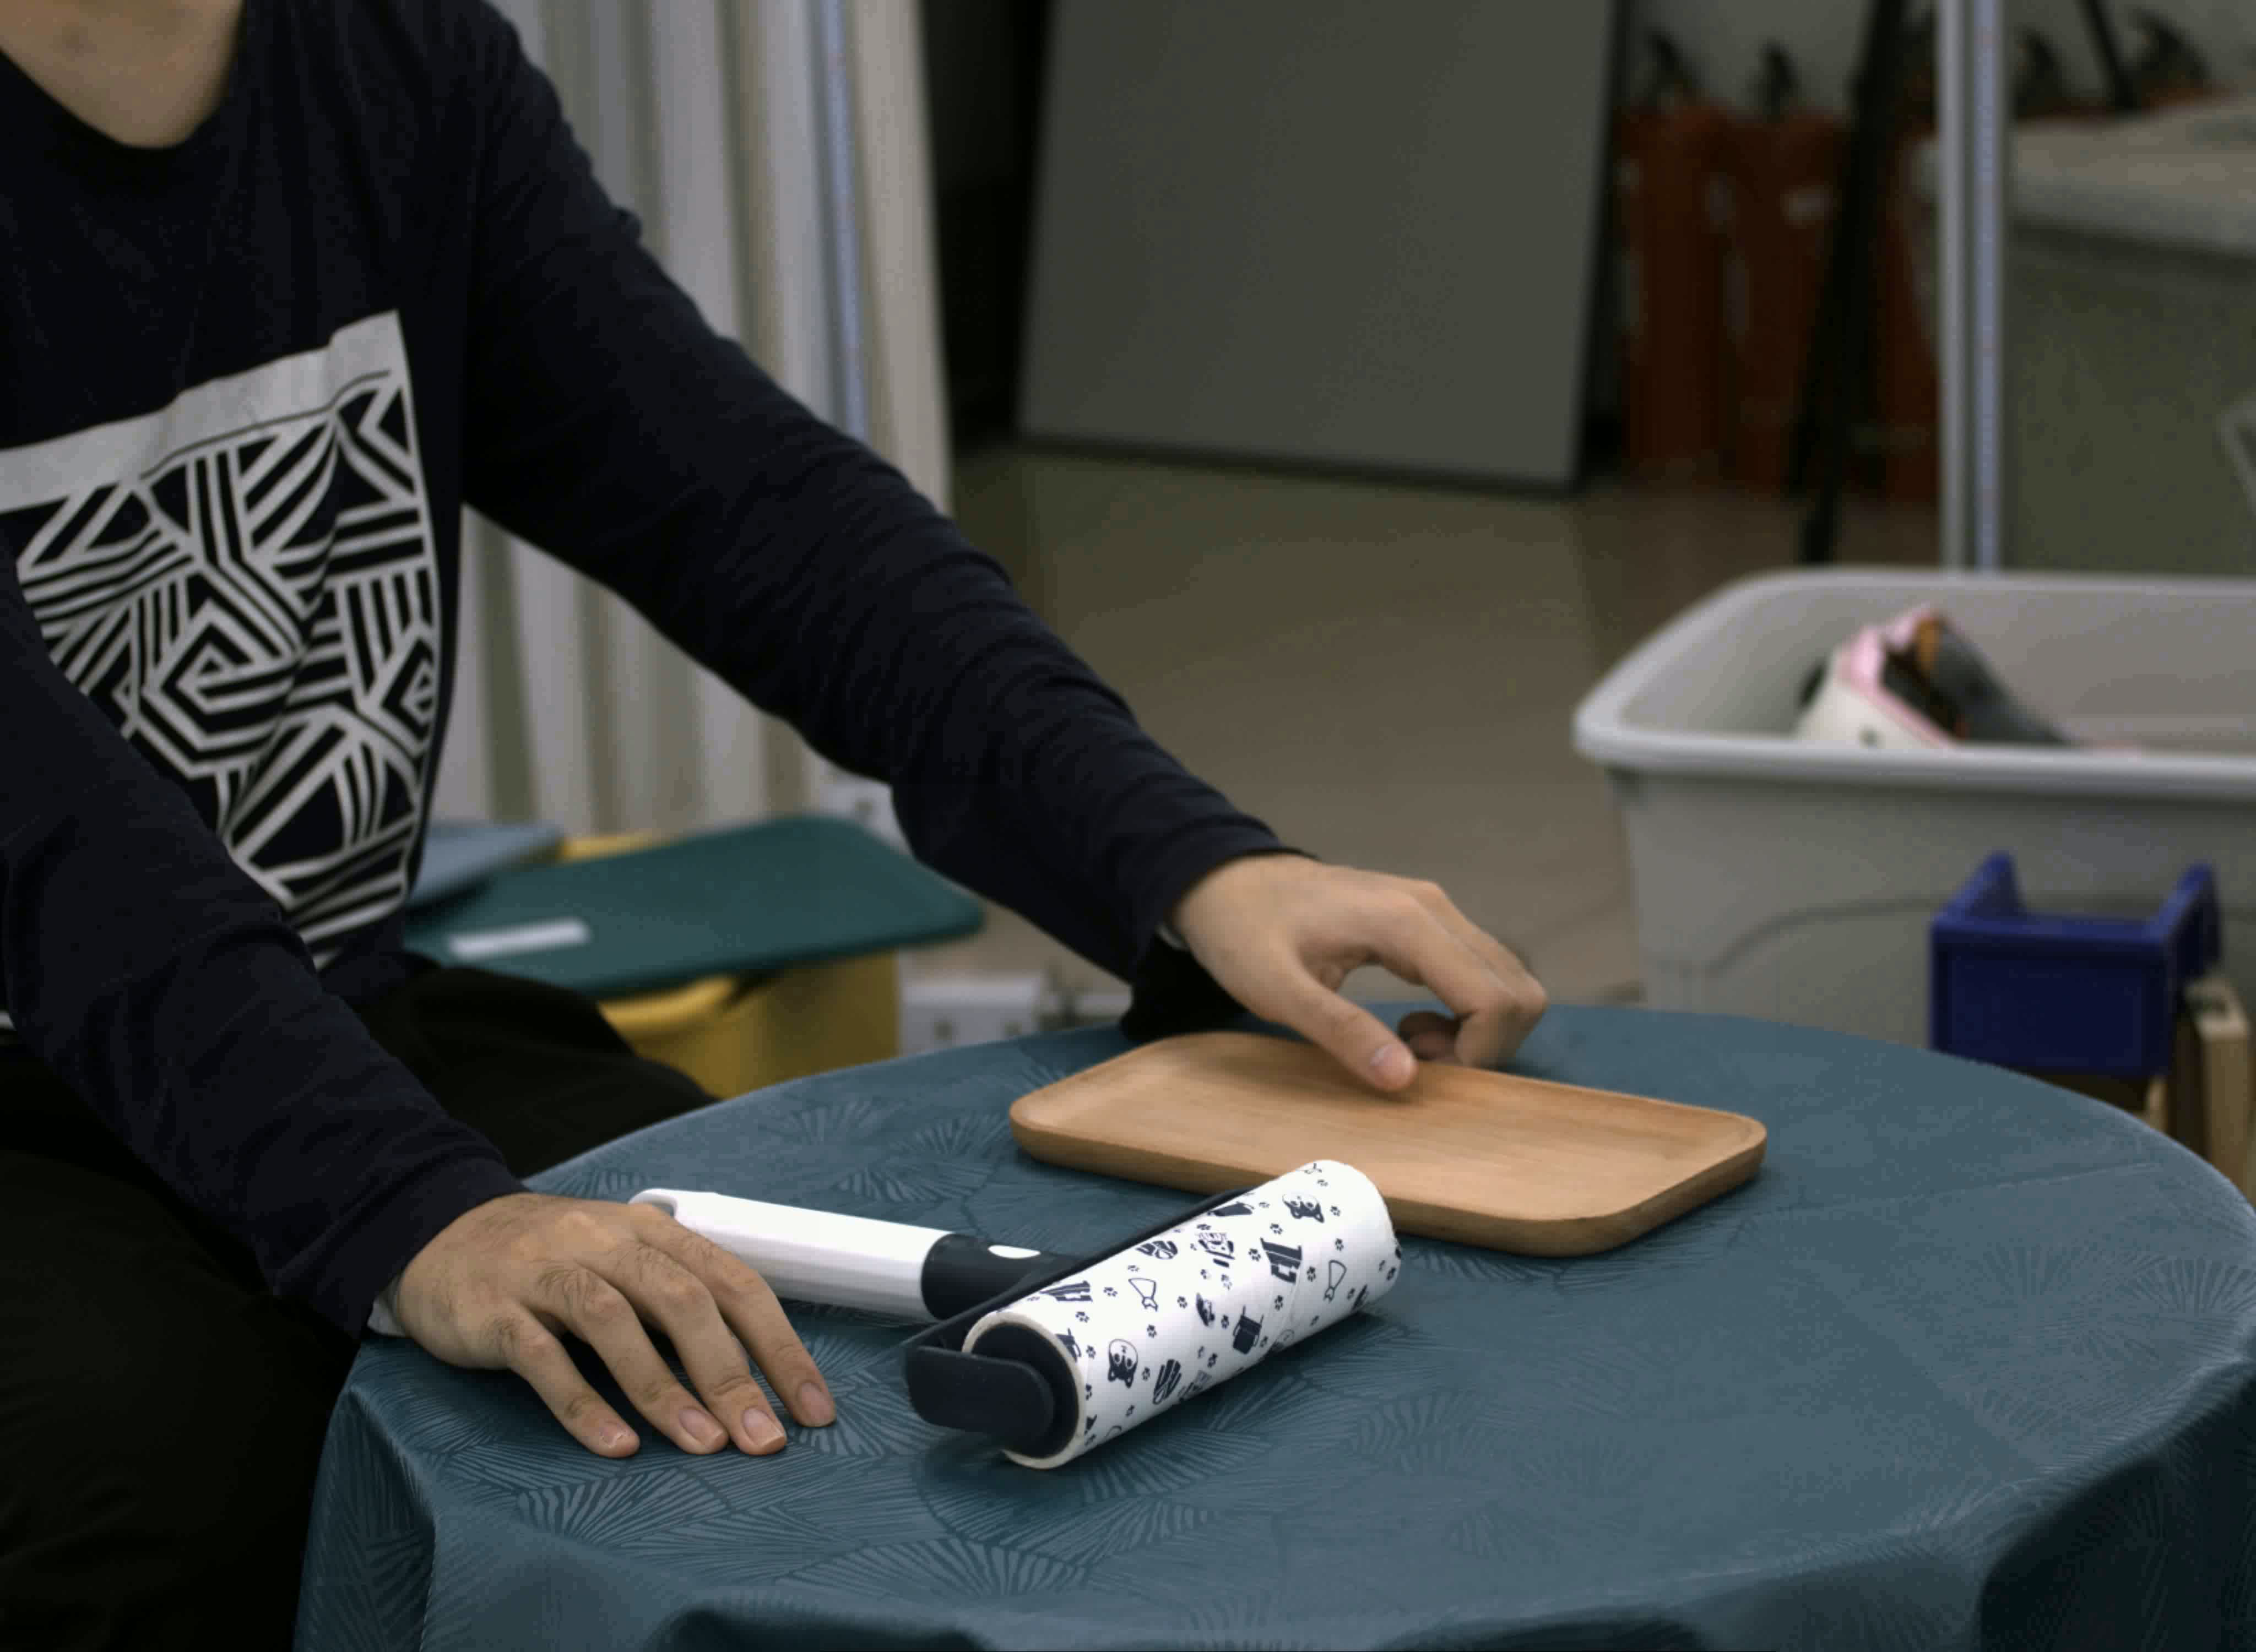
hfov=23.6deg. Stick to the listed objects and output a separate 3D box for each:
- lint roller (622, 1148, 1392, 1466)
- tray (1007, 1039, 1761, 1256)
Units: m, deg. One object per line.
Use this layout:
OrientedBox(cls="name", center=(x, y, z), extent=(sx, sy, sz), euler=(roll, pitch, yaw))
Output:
OrientedBox(cls="lint roller", center=(-0.063, 0.137, 1.646), extent=(0.249, 0.051, 0.173), euler=(3, 16, 38))
OrientedBox(cls="tray", center=(0.083, 0.105, 1.785), extent=(0.253, 0.023, 0.128), euler=(6, 14, 41))
